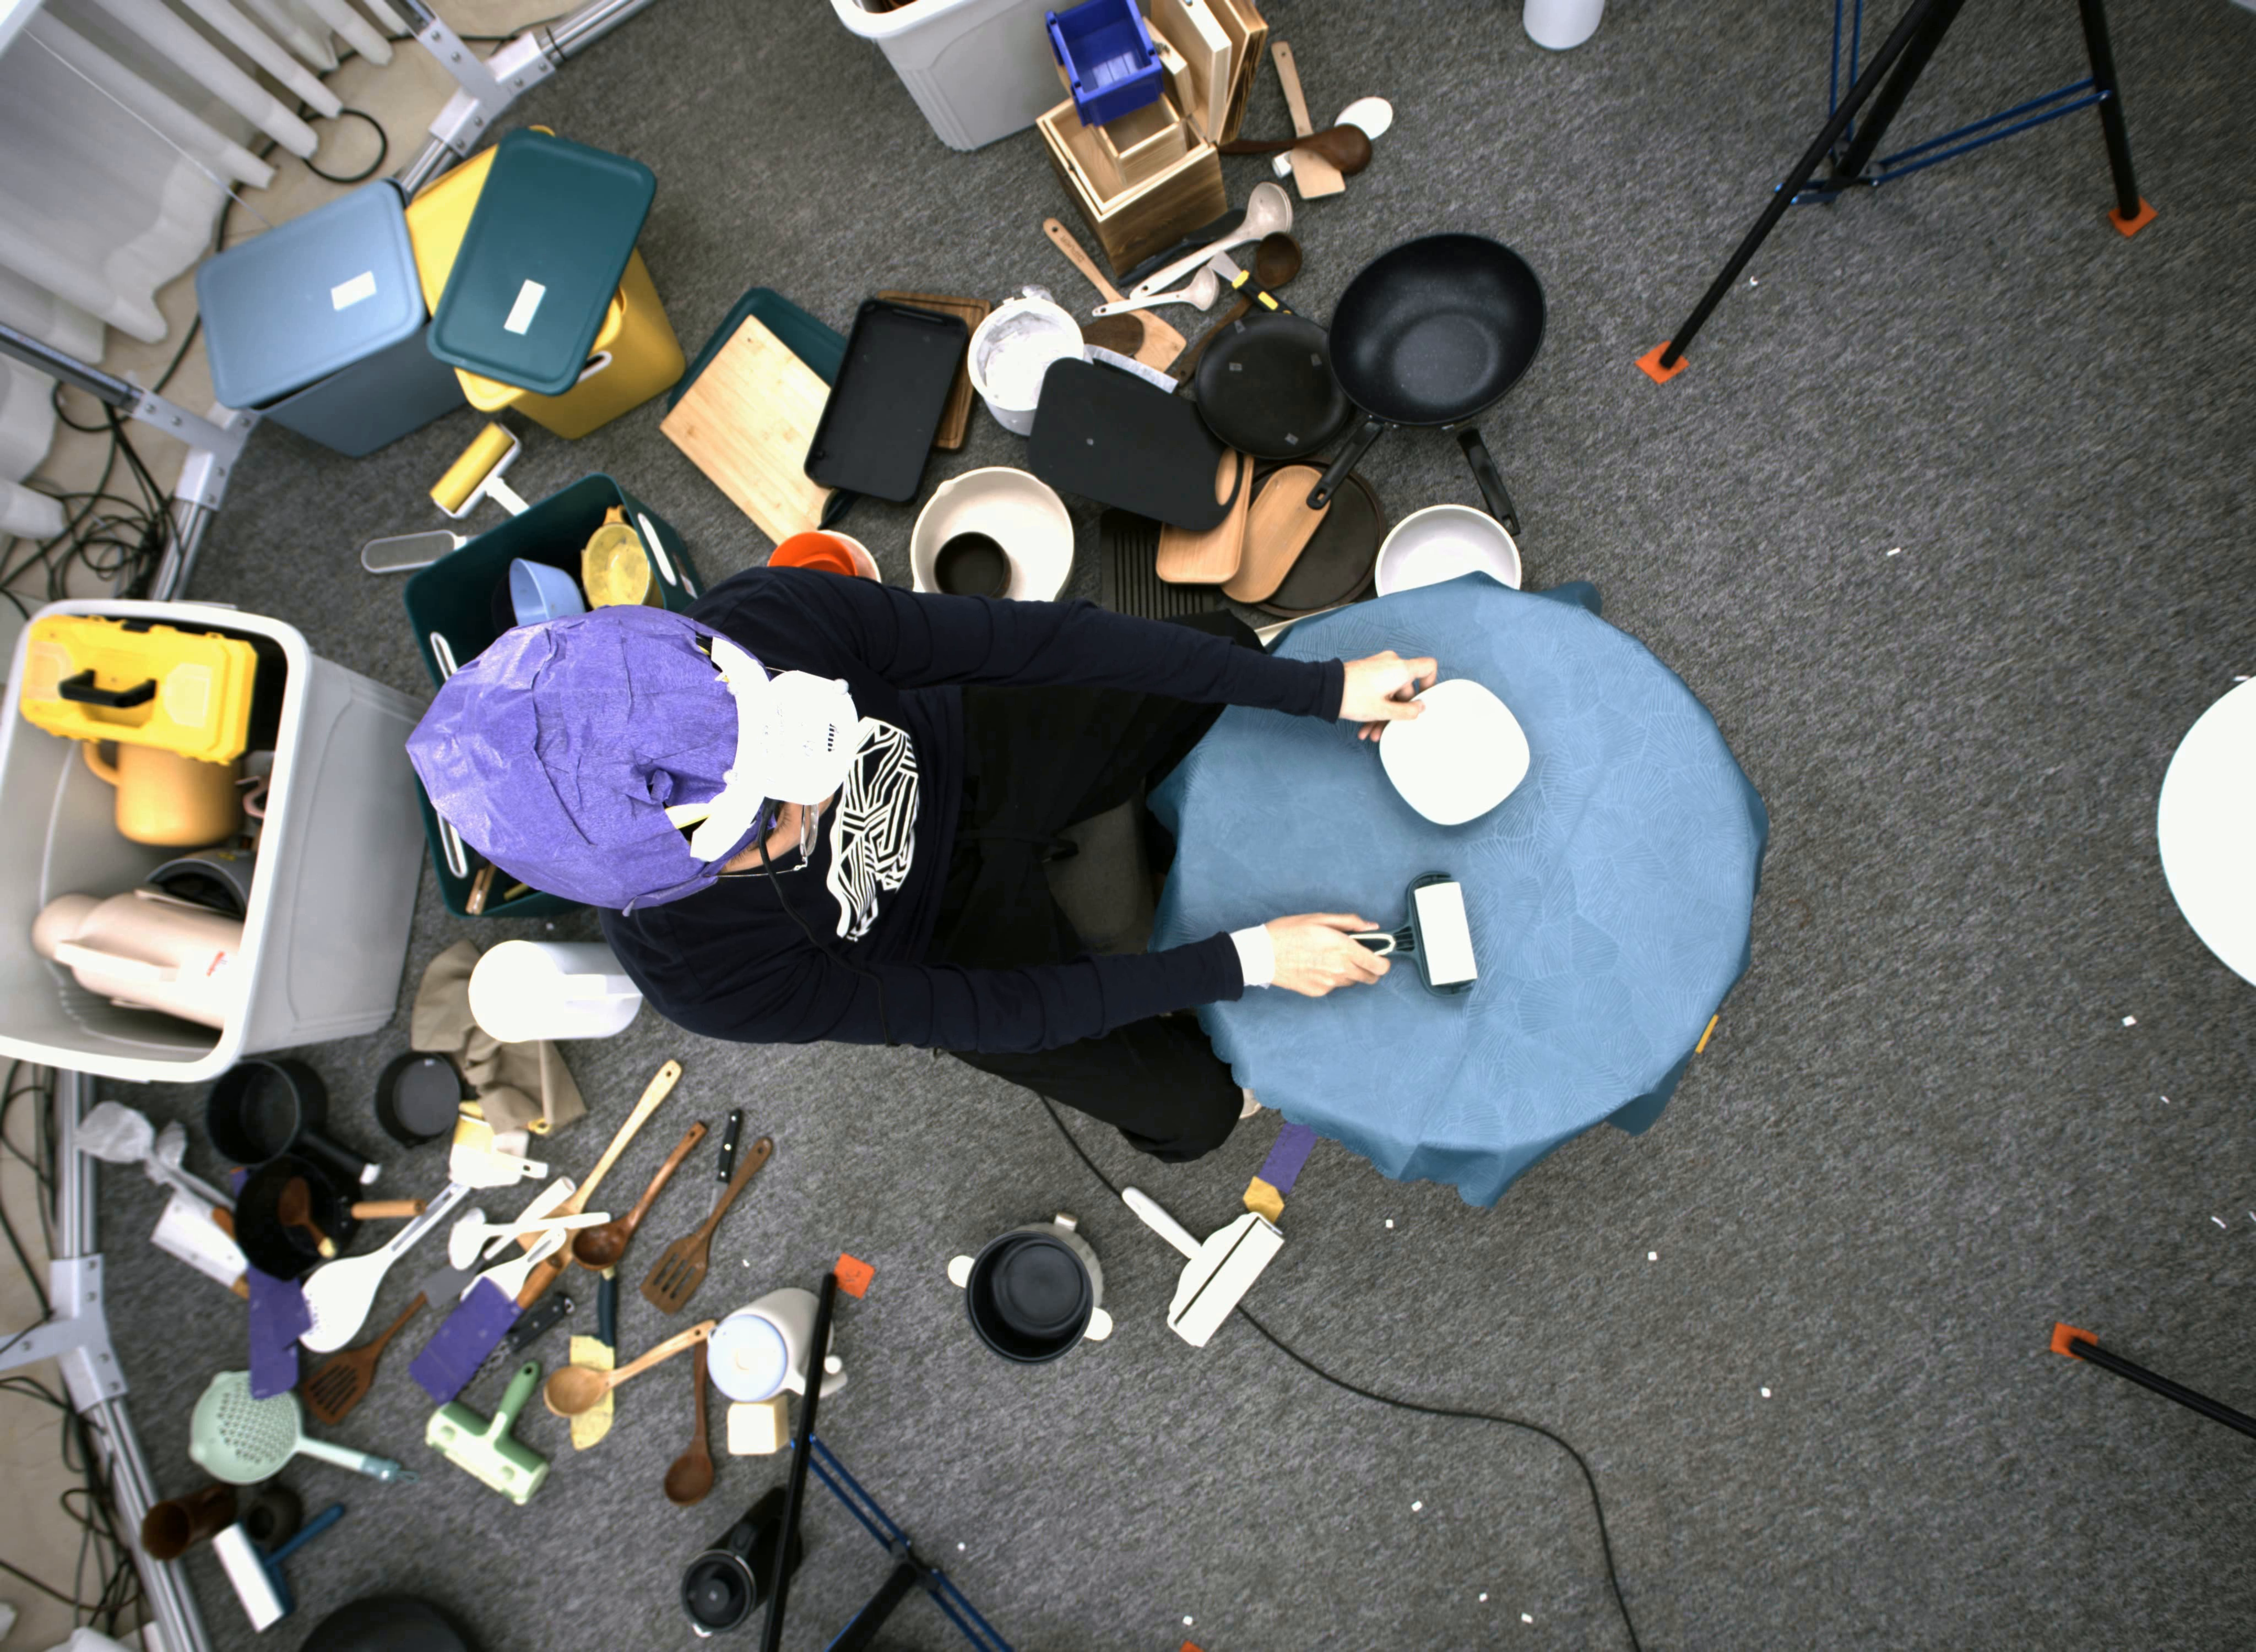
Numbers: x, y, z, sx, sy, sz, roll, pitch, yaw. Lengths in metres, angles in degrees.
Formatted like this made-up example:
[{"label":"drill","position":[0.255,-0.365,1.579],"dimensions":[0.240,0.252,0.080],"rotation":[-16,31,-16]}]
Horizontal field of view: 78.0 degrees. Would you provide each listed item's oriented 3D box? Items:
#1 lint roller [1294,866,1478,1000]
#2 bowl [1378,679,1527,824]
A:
[{"label":"lint roller","position":[0.261,0.121,1.422],"dimensions":[0.180,0.048,0.133],"rotation":[-10,83,2]},{"label":"bowl","position":[0.334,-0.075,1.427],"dimensions":[0.152,0.059,0.150],"rotation":[-1,85,8]}]
